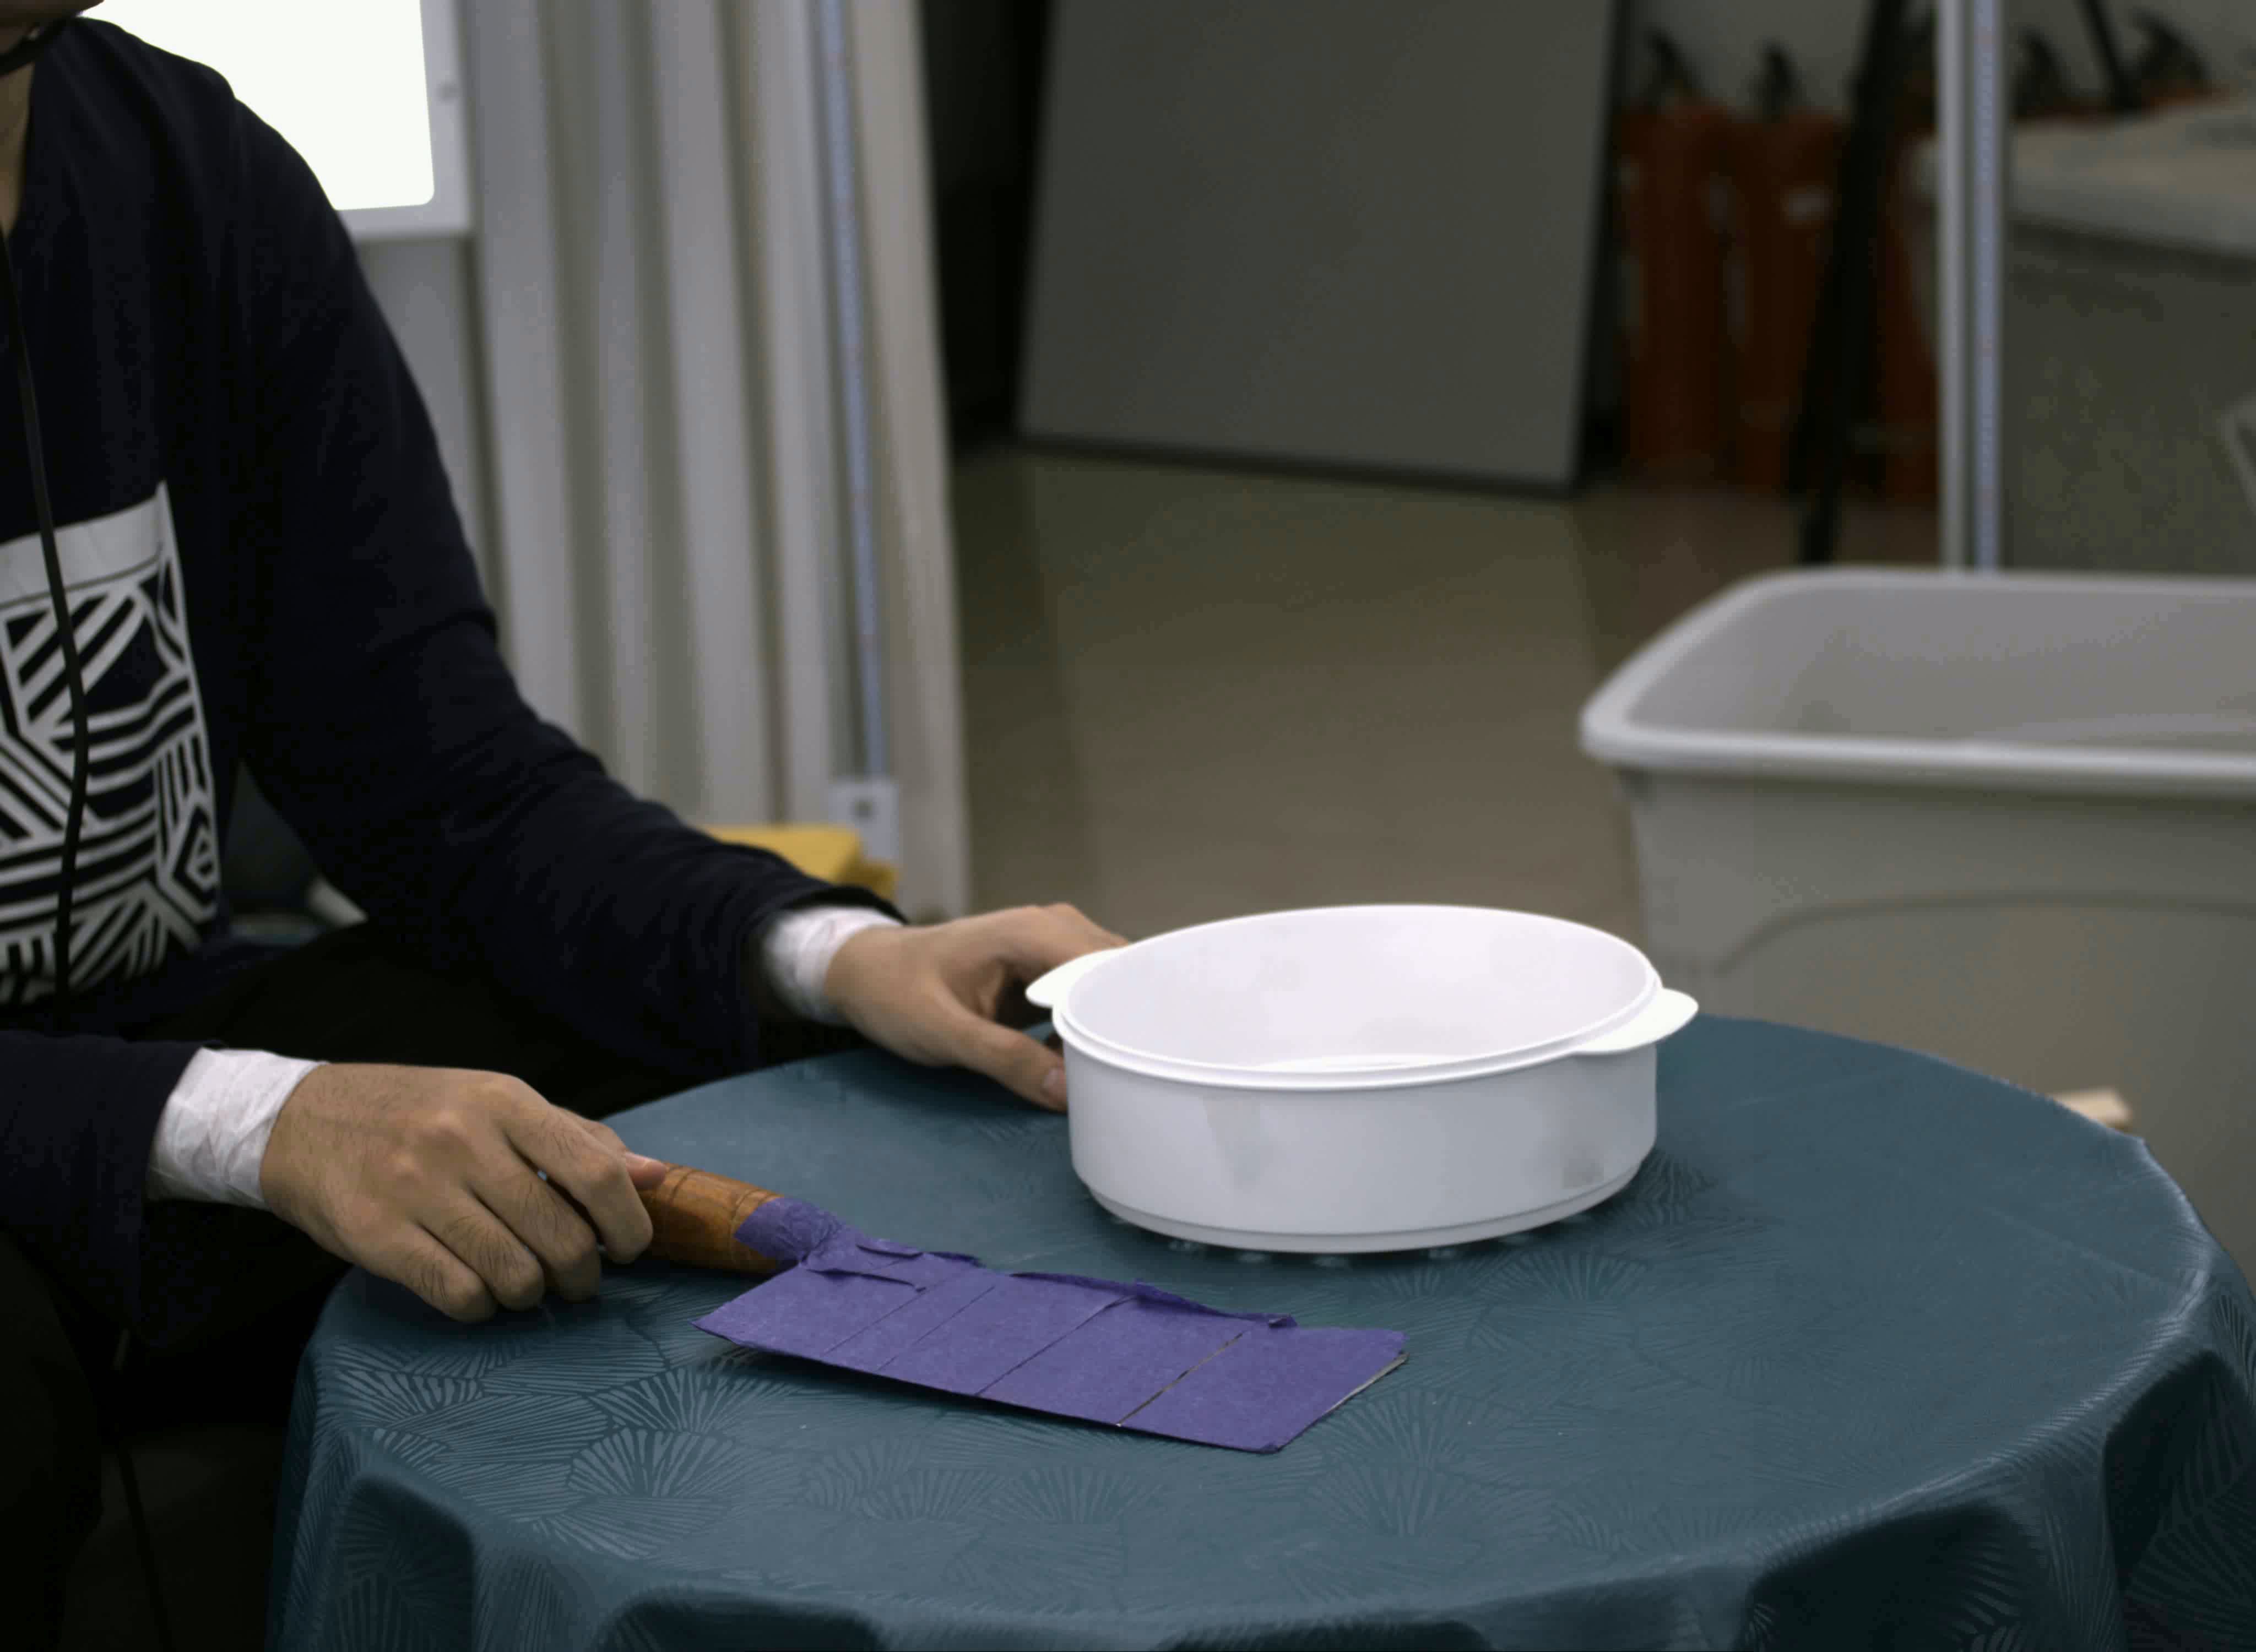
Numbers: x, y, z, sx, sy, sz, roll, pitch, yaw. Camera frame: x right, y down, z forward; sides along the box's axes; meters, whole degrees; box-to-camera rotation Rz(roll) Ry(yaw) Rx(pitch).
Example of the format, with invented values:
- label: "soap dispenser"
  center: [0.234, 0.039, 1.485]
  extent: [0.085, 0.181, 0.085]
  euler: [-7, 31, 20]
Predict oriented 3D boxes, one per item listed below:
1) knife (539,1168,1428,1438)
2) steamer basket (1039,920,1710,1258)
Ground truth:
- label: "knife"
  center: [-0.066, 0.144, 1.643]
  extent: [0.317, 0.032, 0.102]
  euler: [5, 16, 32]
- label: "steamer basket"
  center: [0.081, 0.085, 1.761]
  extent: [0.231, 0.070, 0.199]
  euler: [0, 13, 30]
